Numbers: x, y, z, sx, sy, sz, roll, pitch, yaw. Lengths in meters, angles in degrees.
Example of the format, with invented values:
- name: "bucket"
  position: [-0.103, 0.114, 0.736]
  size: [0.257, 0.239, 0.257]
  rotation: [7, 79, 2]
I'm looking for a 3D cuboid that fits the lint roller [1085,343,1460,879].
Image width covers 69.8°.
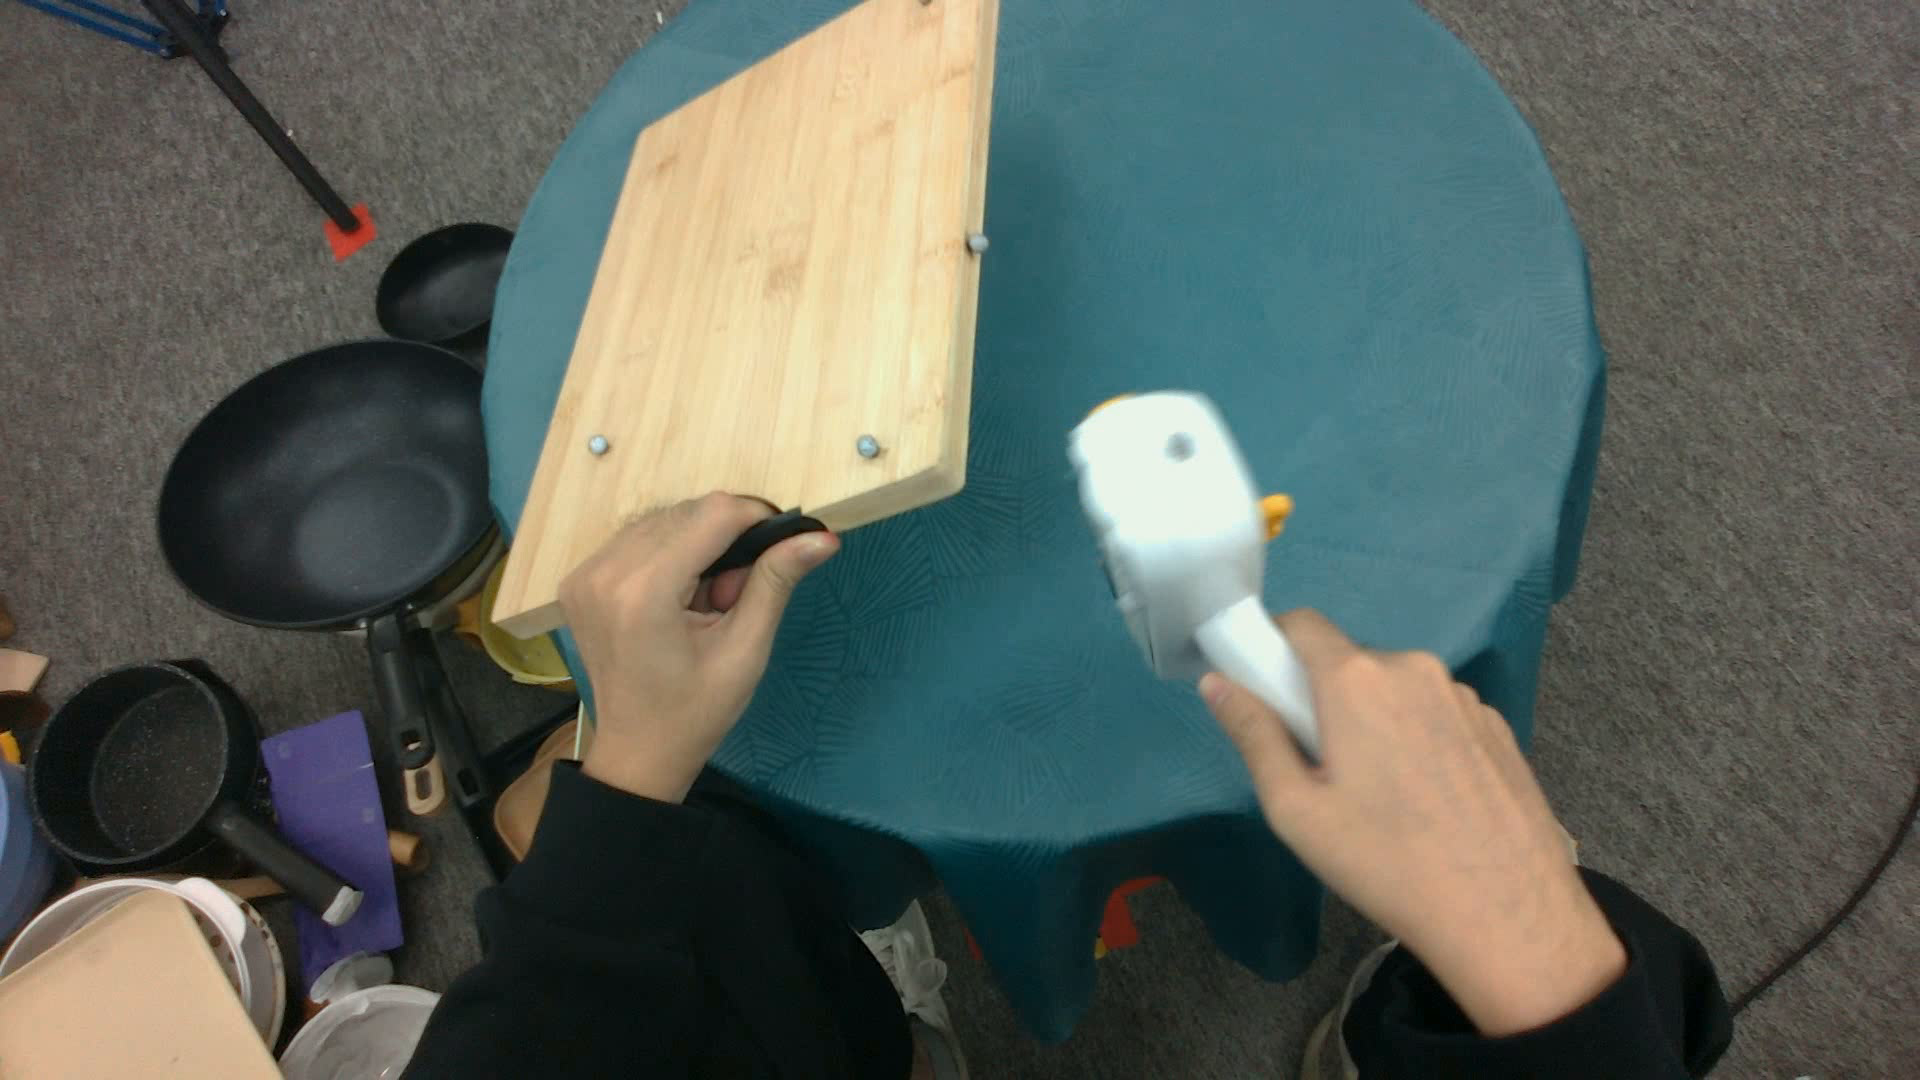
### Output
- name: "lint roller"
  position: [0.107, 0.039, 0.499]
  size: [0.074, 0.192, 0.193]
  rotation: [-23, 73, -7]

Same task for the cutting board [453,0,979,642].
- name: "cutting board"
  position: [-0.106, -0.129, 0.657]
  size: [0.250, 0.023, 0.350]
  rotation: [-17, 50, 25]
